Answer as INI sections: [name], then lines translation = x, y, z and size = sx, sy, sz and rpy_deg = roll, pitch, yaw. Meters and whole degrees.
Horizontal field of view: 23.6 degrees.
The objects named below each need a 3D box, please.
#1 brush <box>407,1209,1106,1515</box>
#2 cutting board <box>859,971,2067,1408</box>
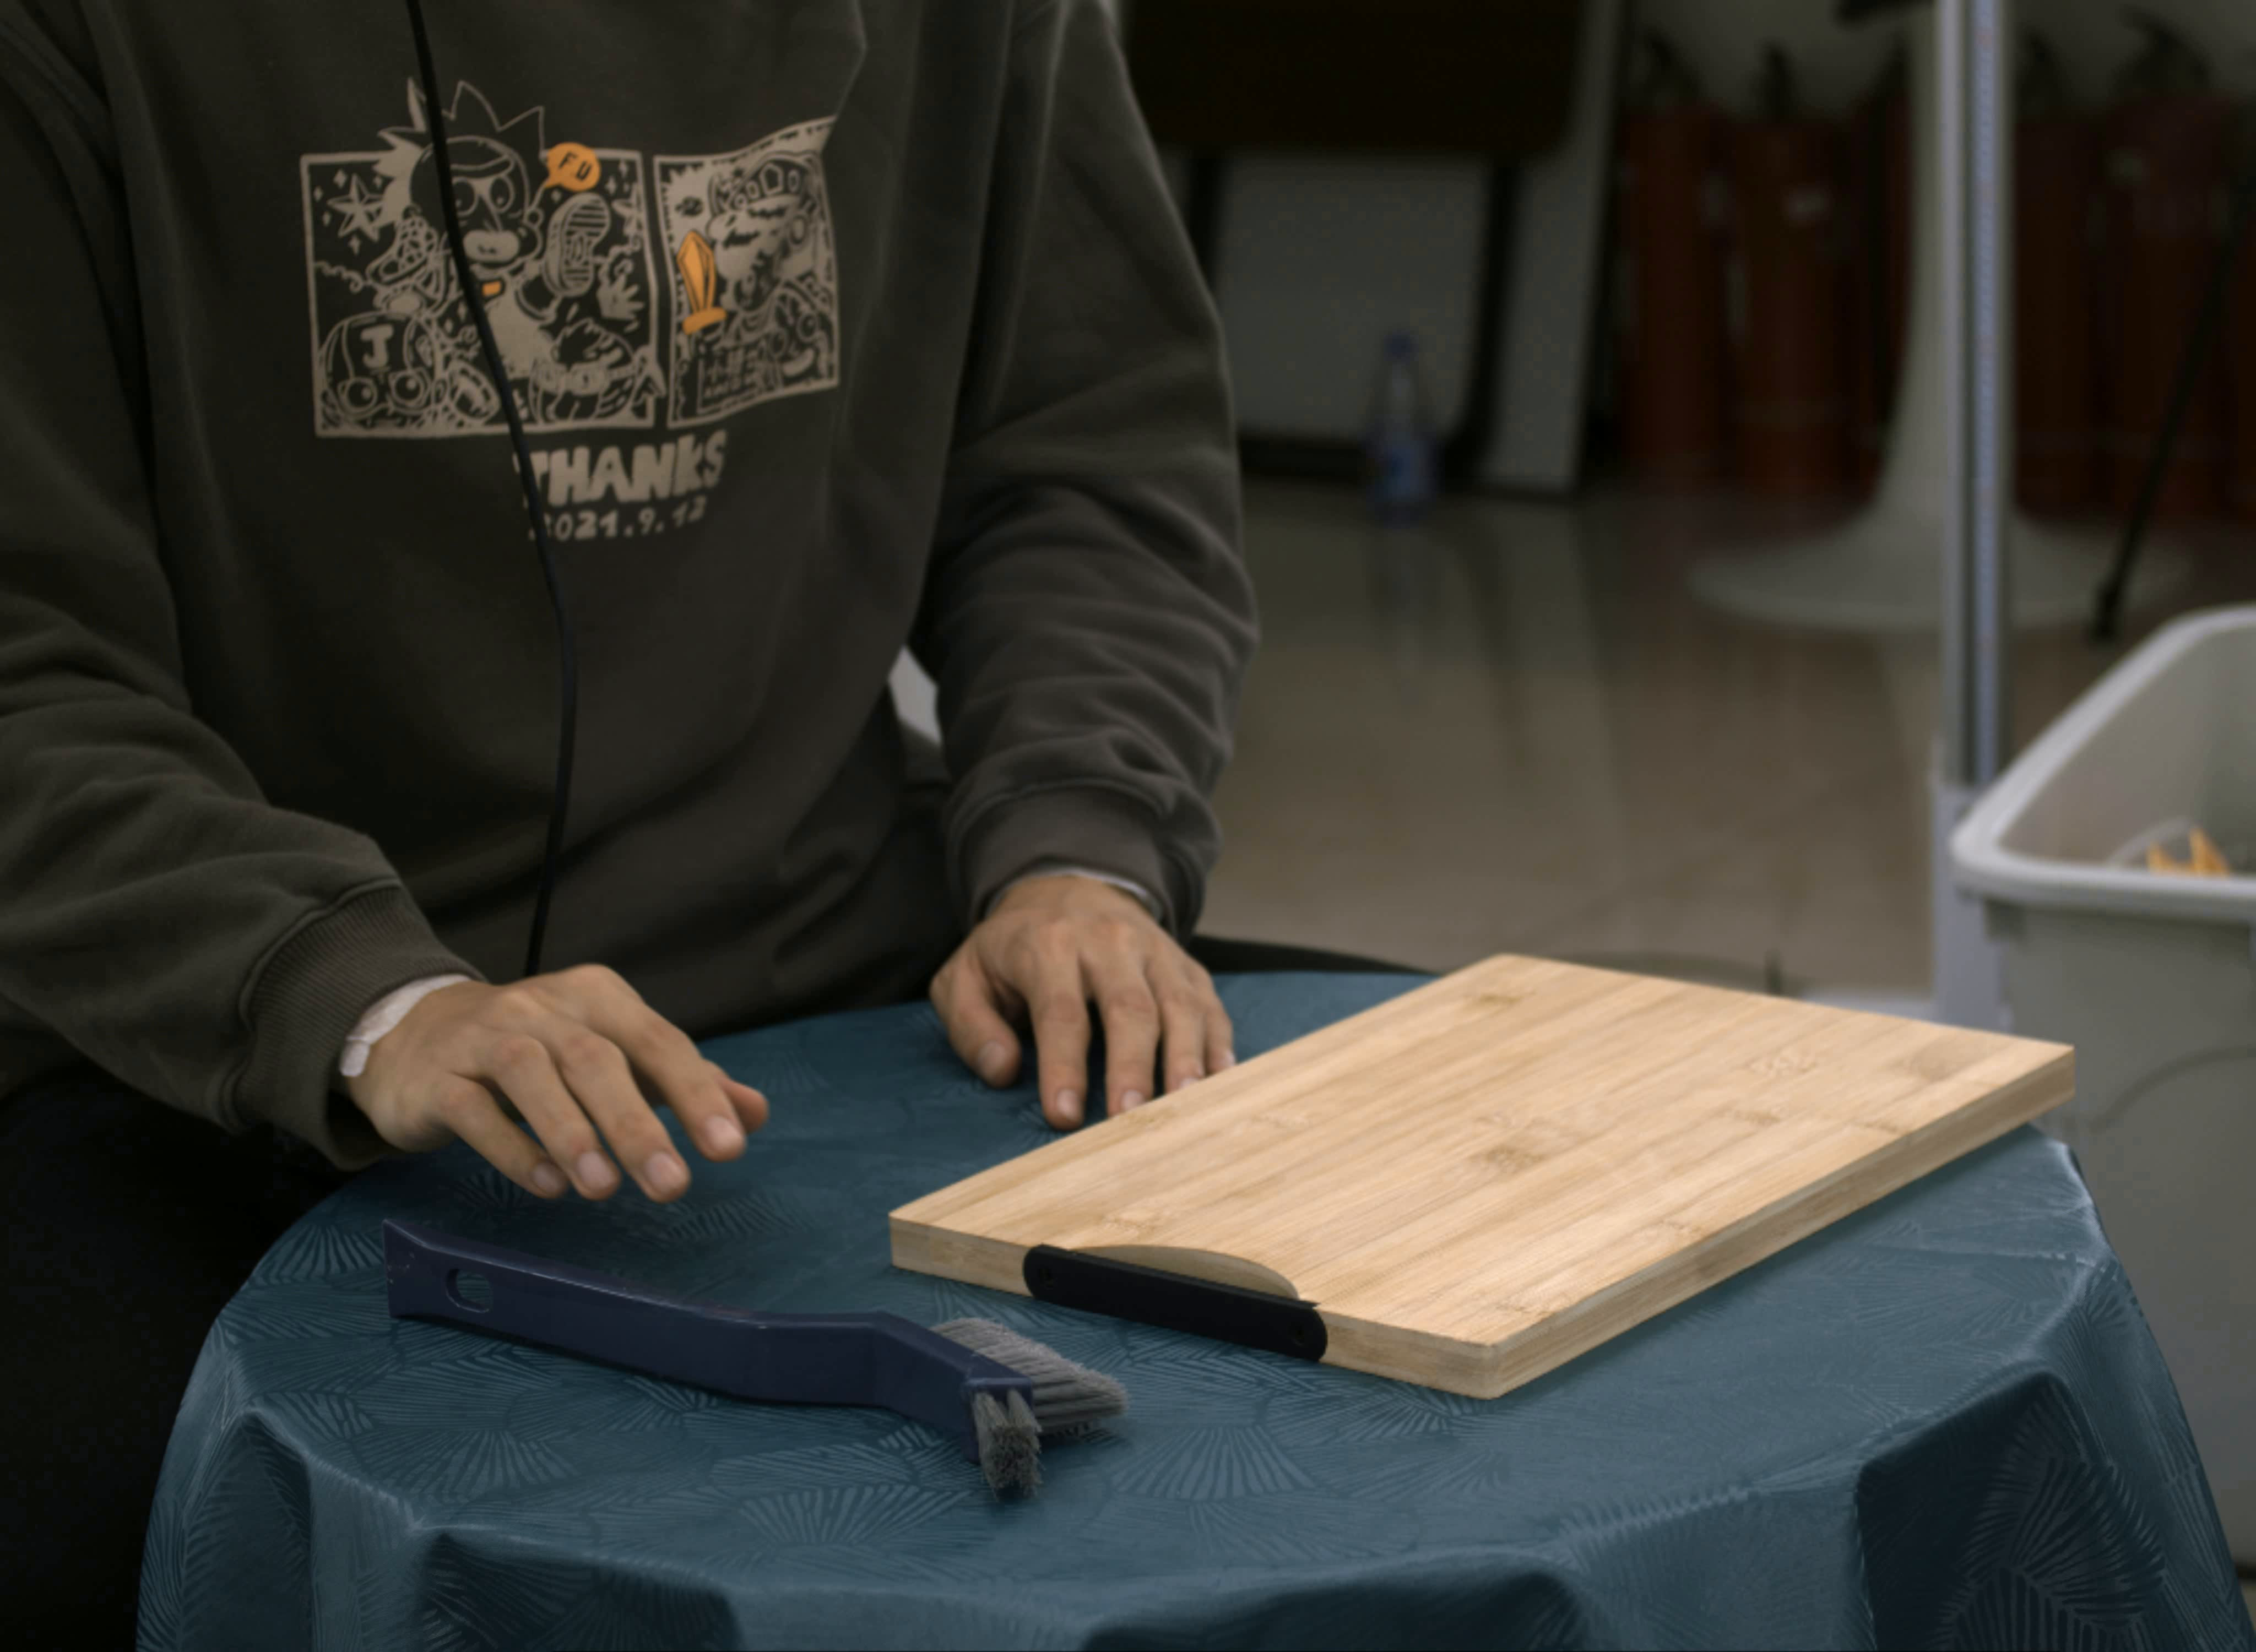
[brush]
translation = -0.127, 0.156, 1.605
size = 0.274, 0.034, 0.094
rpy_deg = 6, 17, 33
[cutting board]
translation = 0.116, 0.112, 1.751
size = 0.252, 0.024, 0.342
rpy_deg = 6, 17, 39
